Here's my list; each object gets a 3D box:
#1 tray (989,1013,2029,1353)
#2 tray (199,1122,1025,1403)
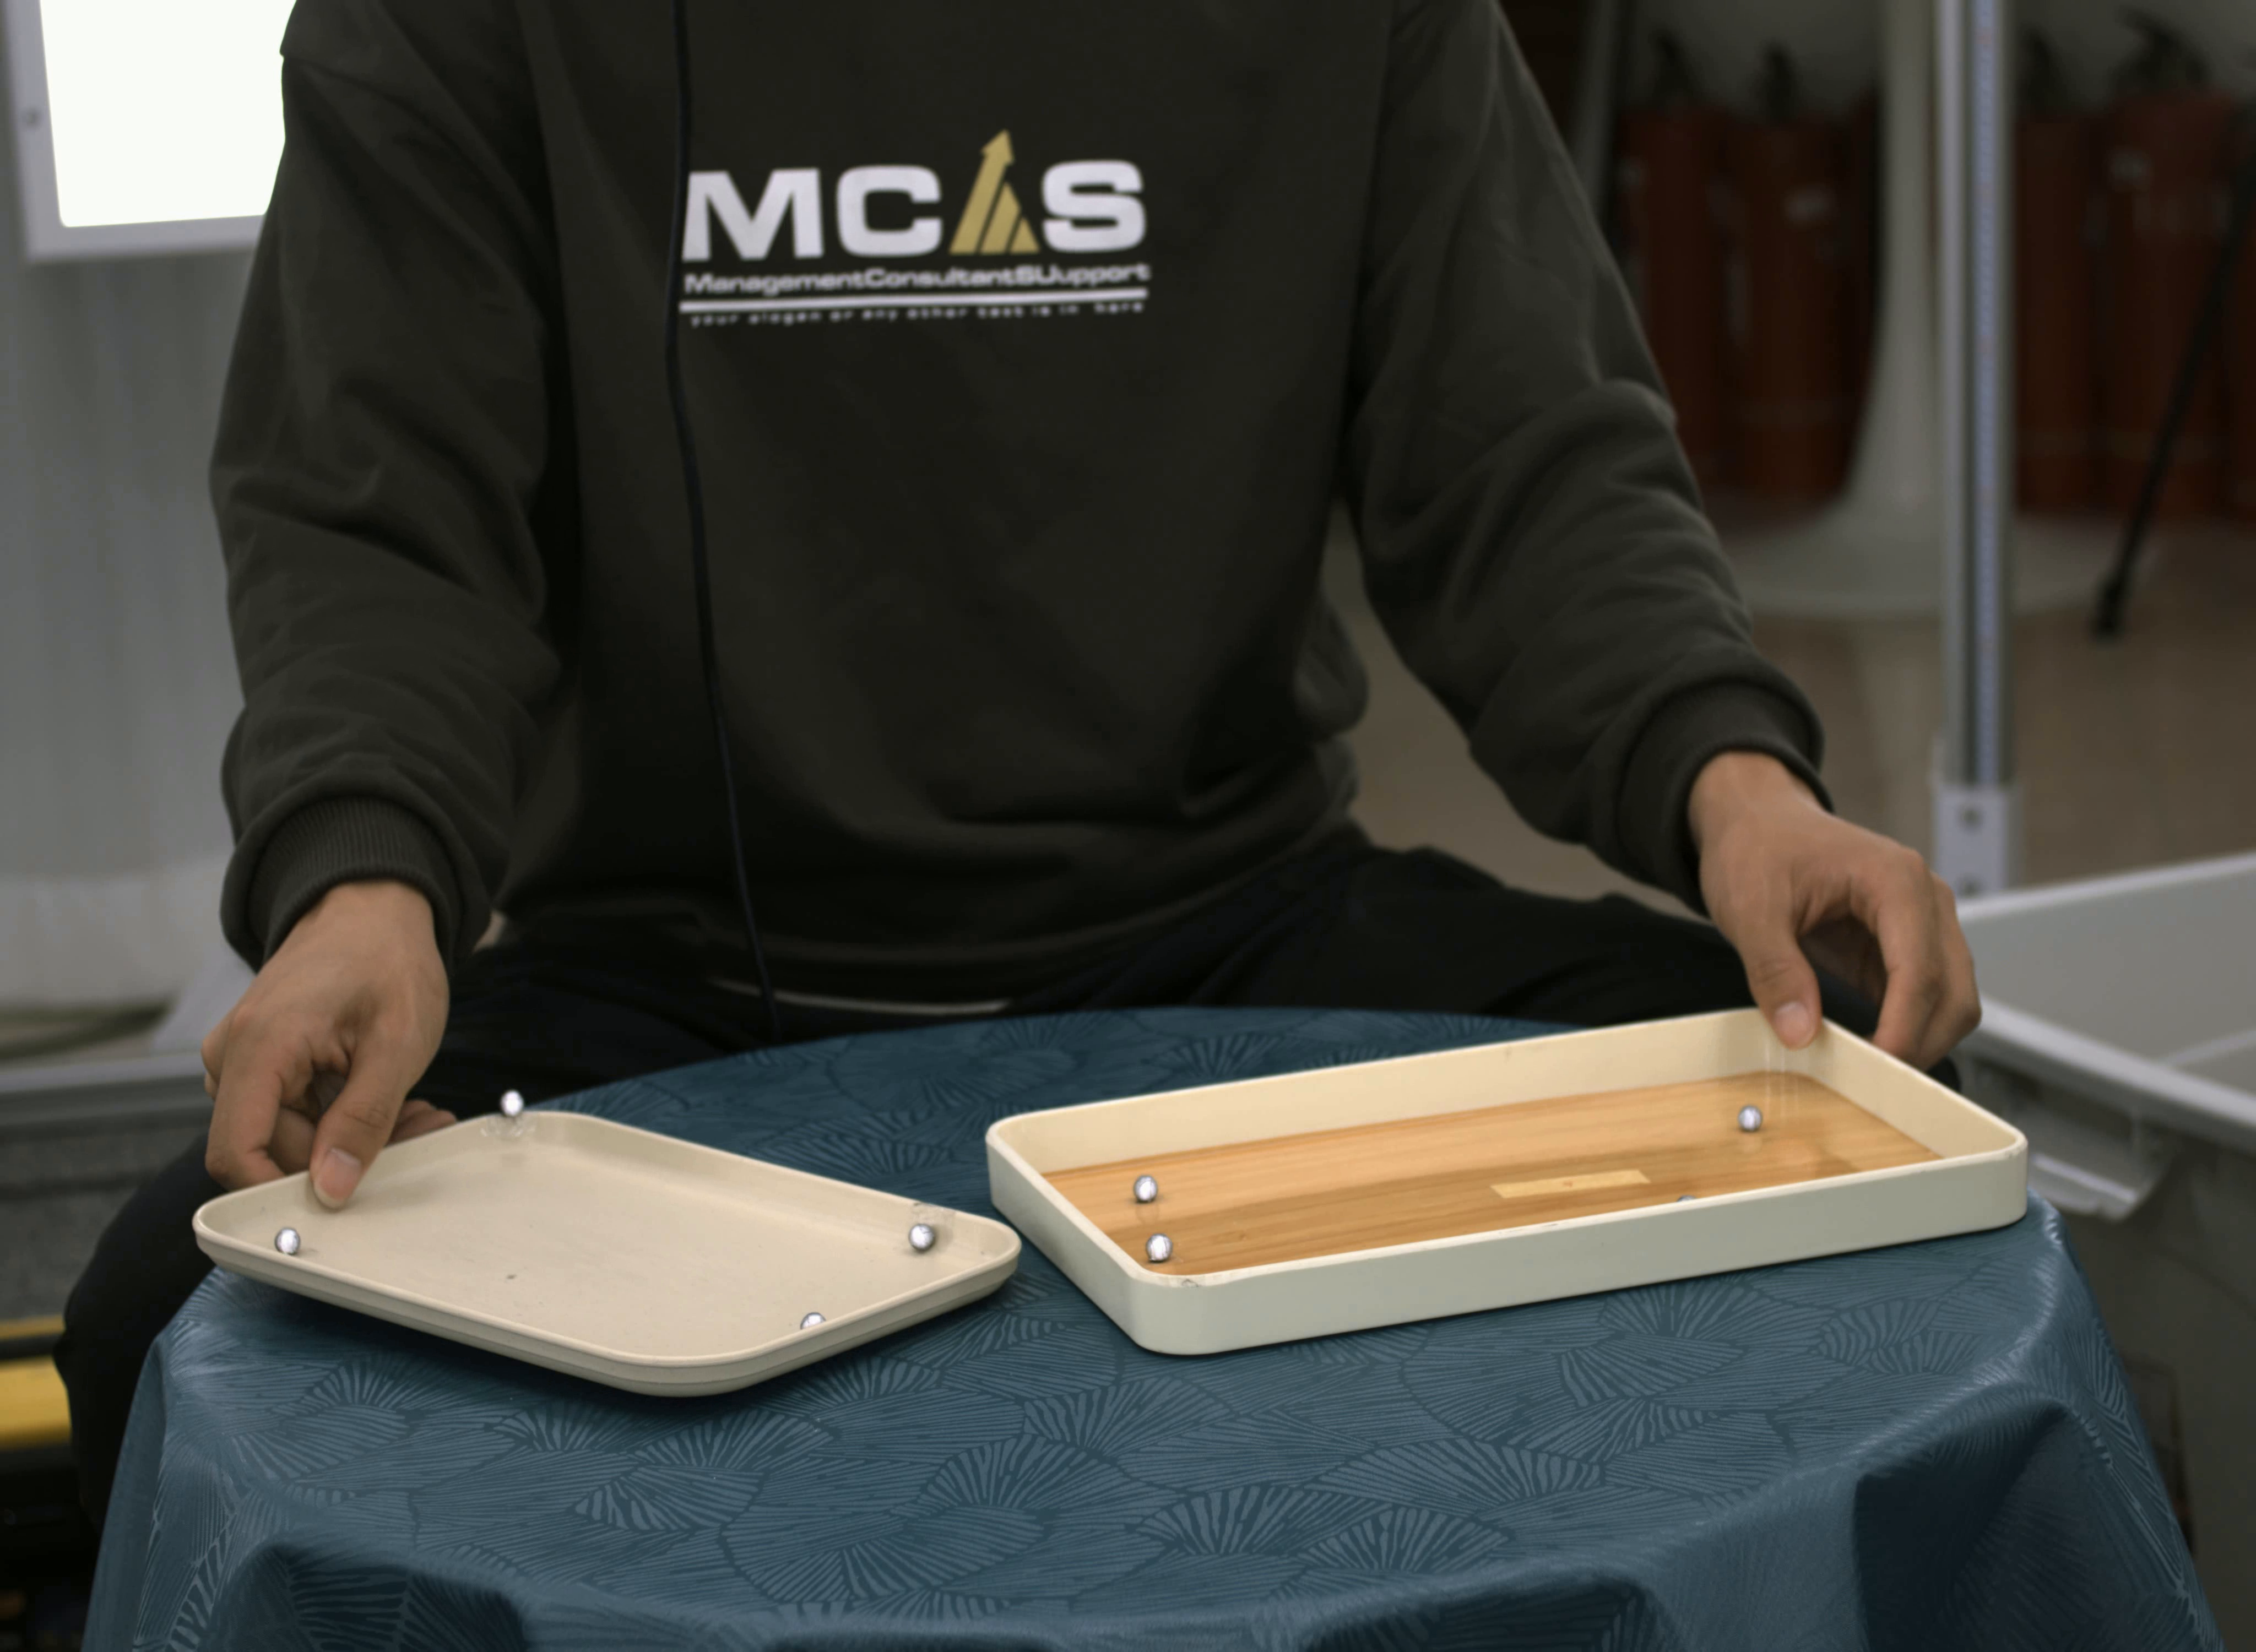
[{"bbox_3d":[0.119,0.112,1.729,0.294,0.028,0.193,-7,13,-16],"label":"tray"},{"bbox_3d":[-0.163,0.136,1.703,0.241,0.018,0.168,10,17,40],"label":"tray"}]
